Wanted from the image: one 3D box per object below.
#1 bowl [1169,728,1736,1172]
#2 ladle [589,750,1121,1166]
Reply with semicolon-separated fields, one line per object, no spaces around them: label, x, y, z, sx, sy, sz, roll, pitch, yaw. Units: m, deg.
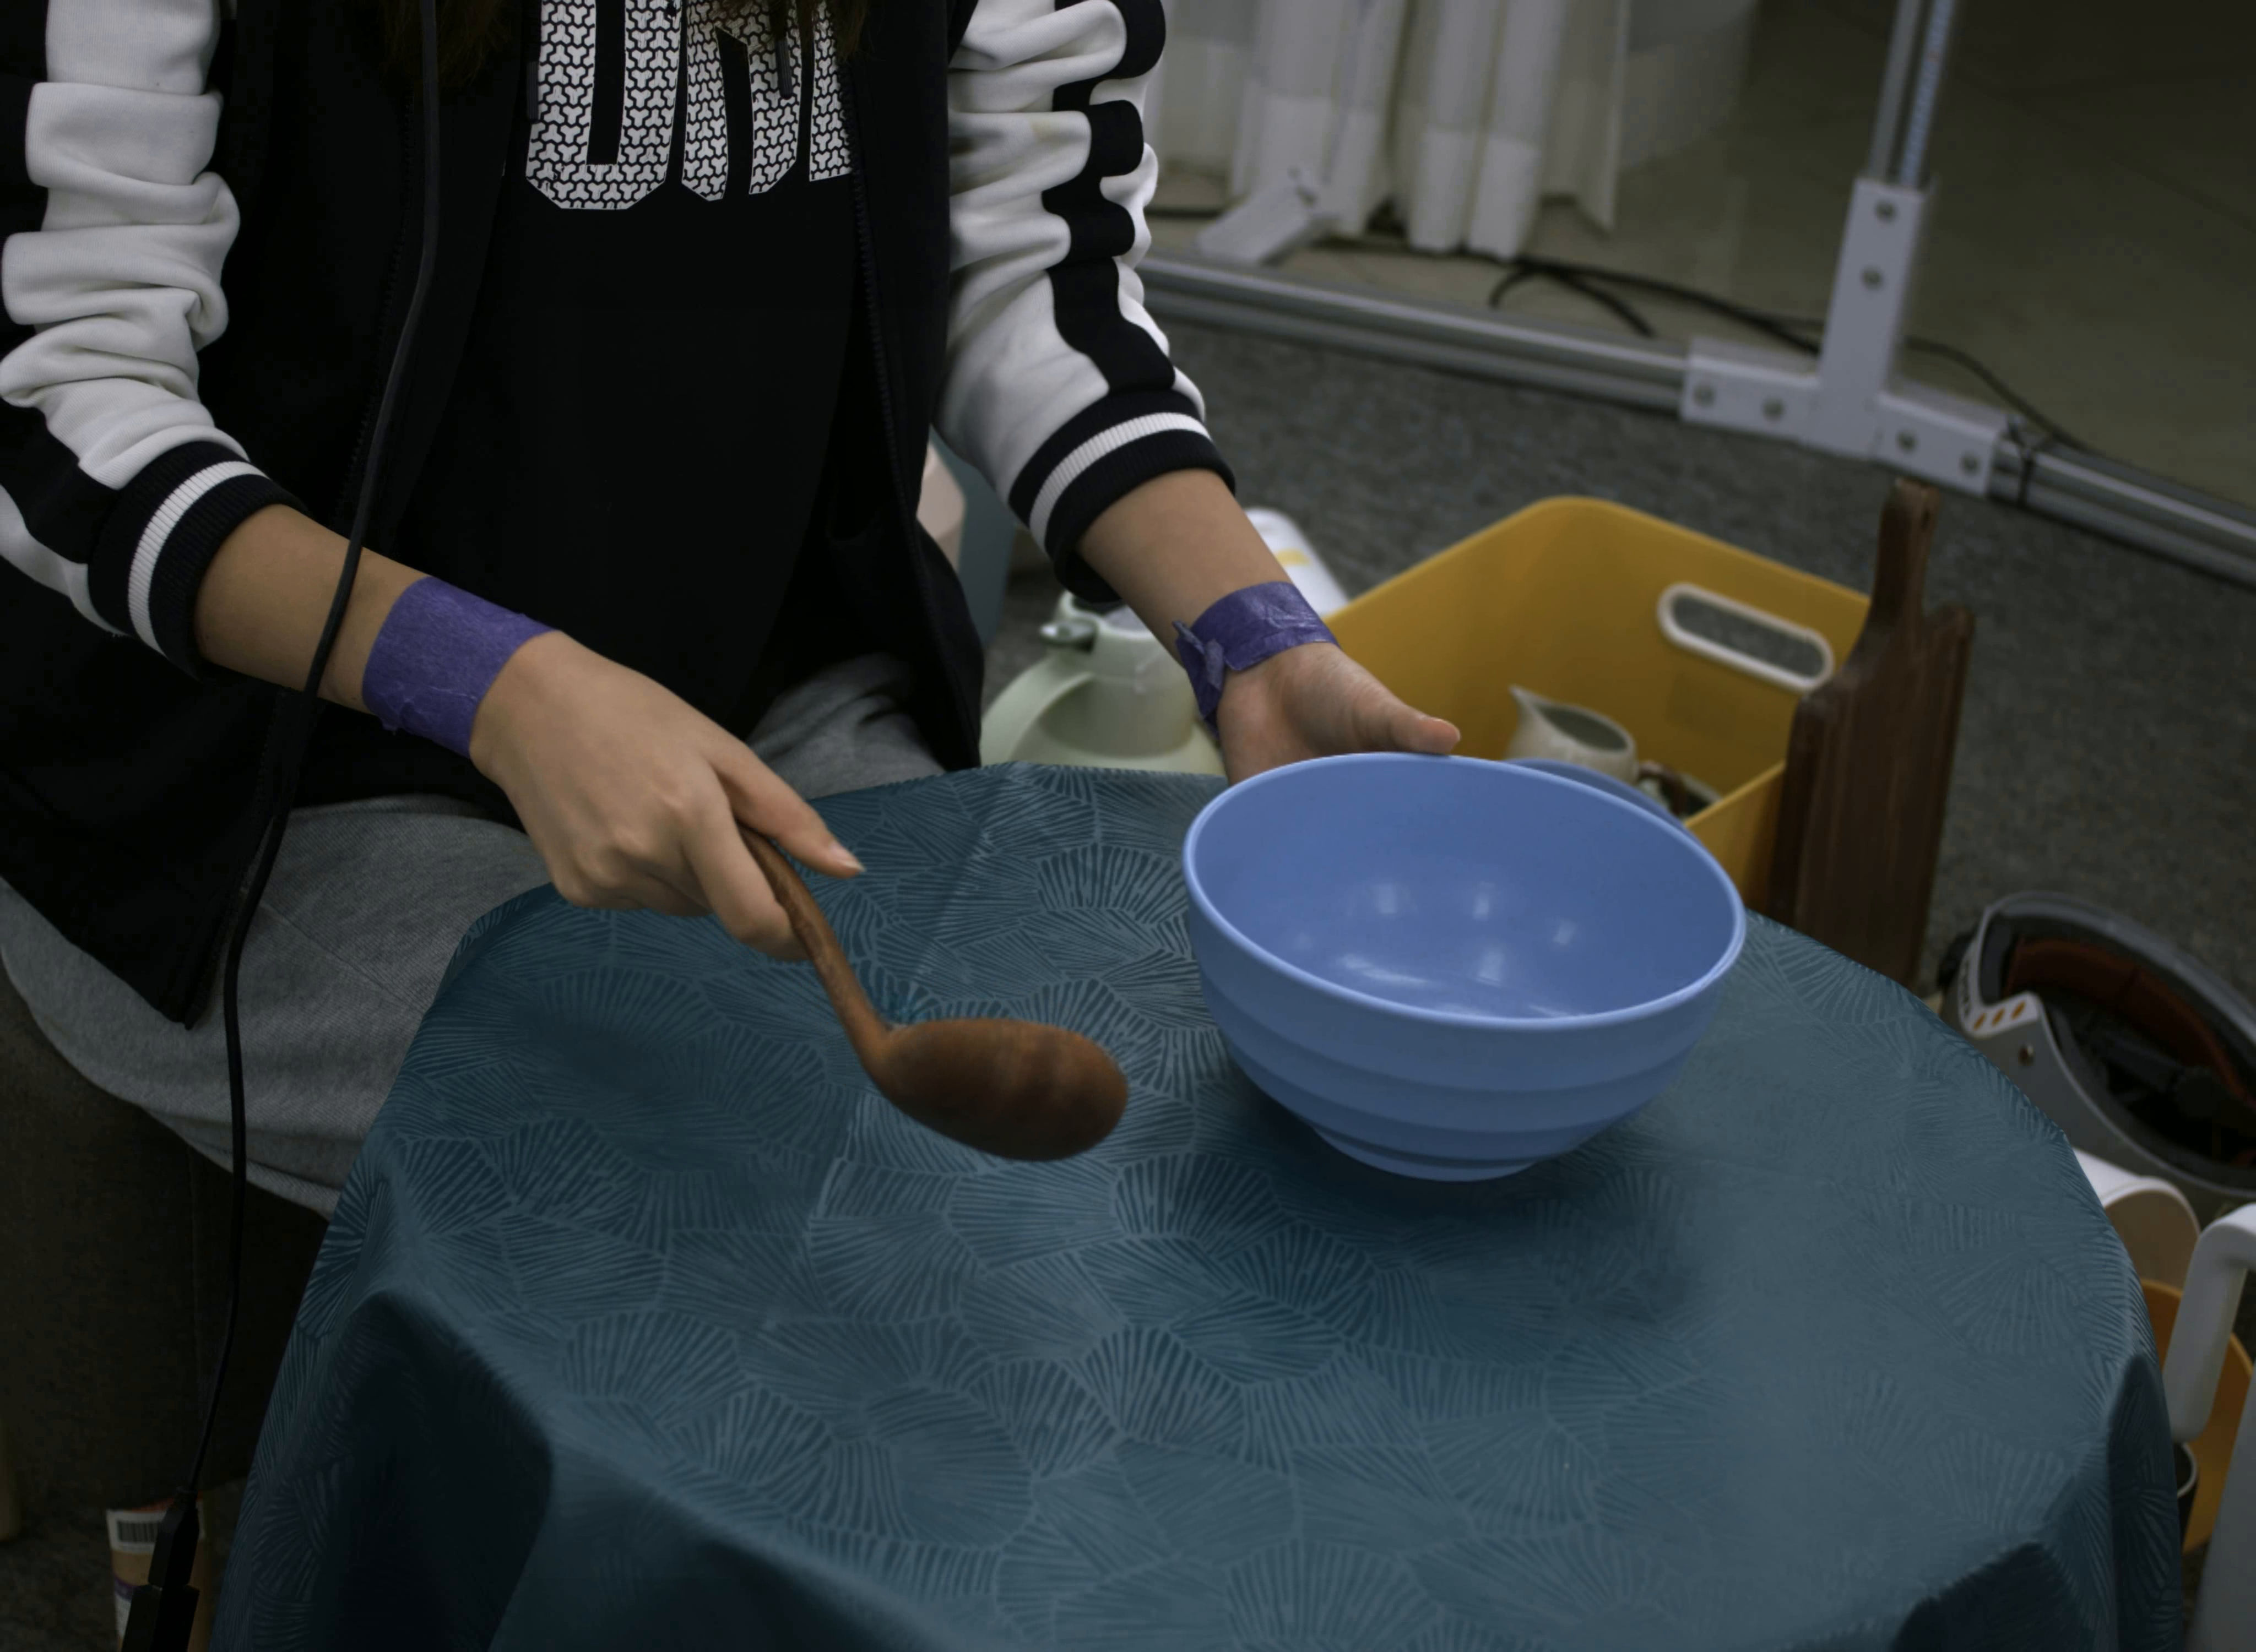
bowl;0.108;0.056;1.855;0.196;0.095;0.198;3;33;-2
ladle;-0.093;0.030;1.750;0.065;0.076;0.262;-44;48;-2
